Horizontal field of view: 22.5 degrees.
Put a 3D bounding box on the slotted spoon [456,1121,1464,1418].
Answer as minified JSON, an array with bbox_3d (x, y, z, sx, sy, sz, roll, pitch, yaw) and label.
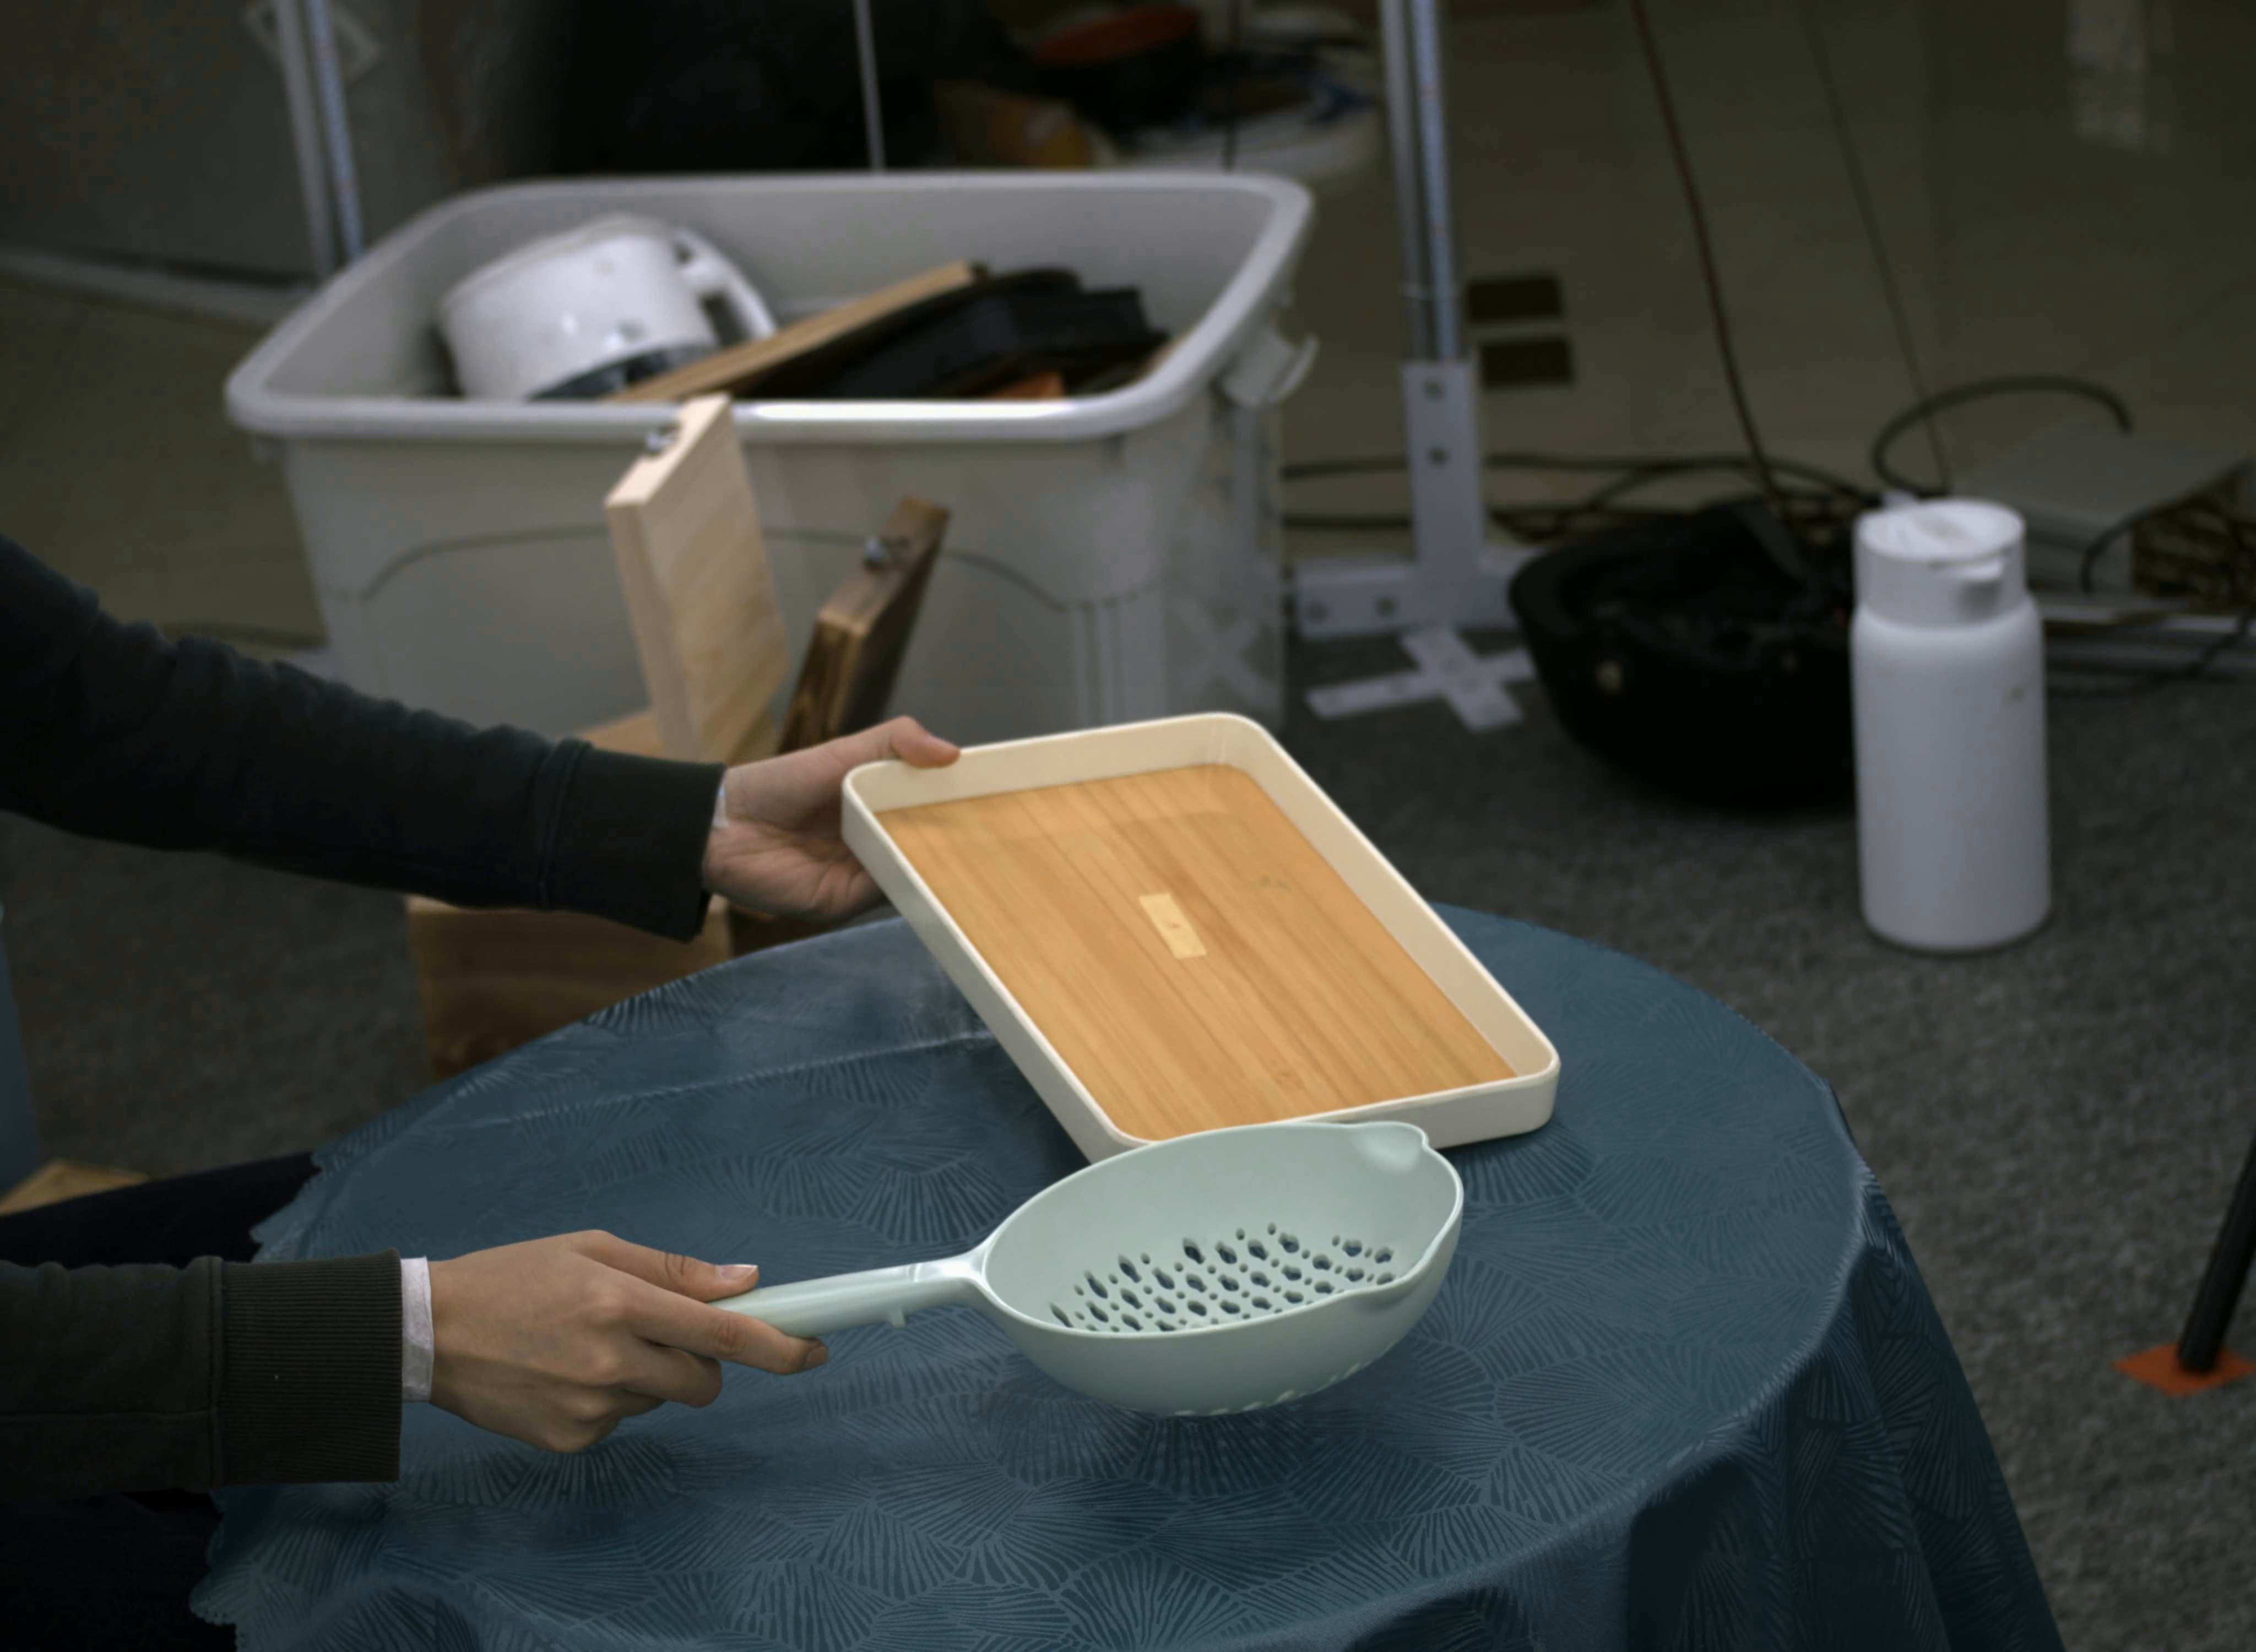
[{"bbox_3d":[-0.061,0.165,1.987,0.358,0.076,0.167,-1,20,3],"label":"slotted spoon"}]

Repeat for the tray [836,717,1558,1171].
[{"bbox_3d":[0.022,0.047,2.236,0.191,0.028,0.296,-9,33,-23],"label":"tray"}]
